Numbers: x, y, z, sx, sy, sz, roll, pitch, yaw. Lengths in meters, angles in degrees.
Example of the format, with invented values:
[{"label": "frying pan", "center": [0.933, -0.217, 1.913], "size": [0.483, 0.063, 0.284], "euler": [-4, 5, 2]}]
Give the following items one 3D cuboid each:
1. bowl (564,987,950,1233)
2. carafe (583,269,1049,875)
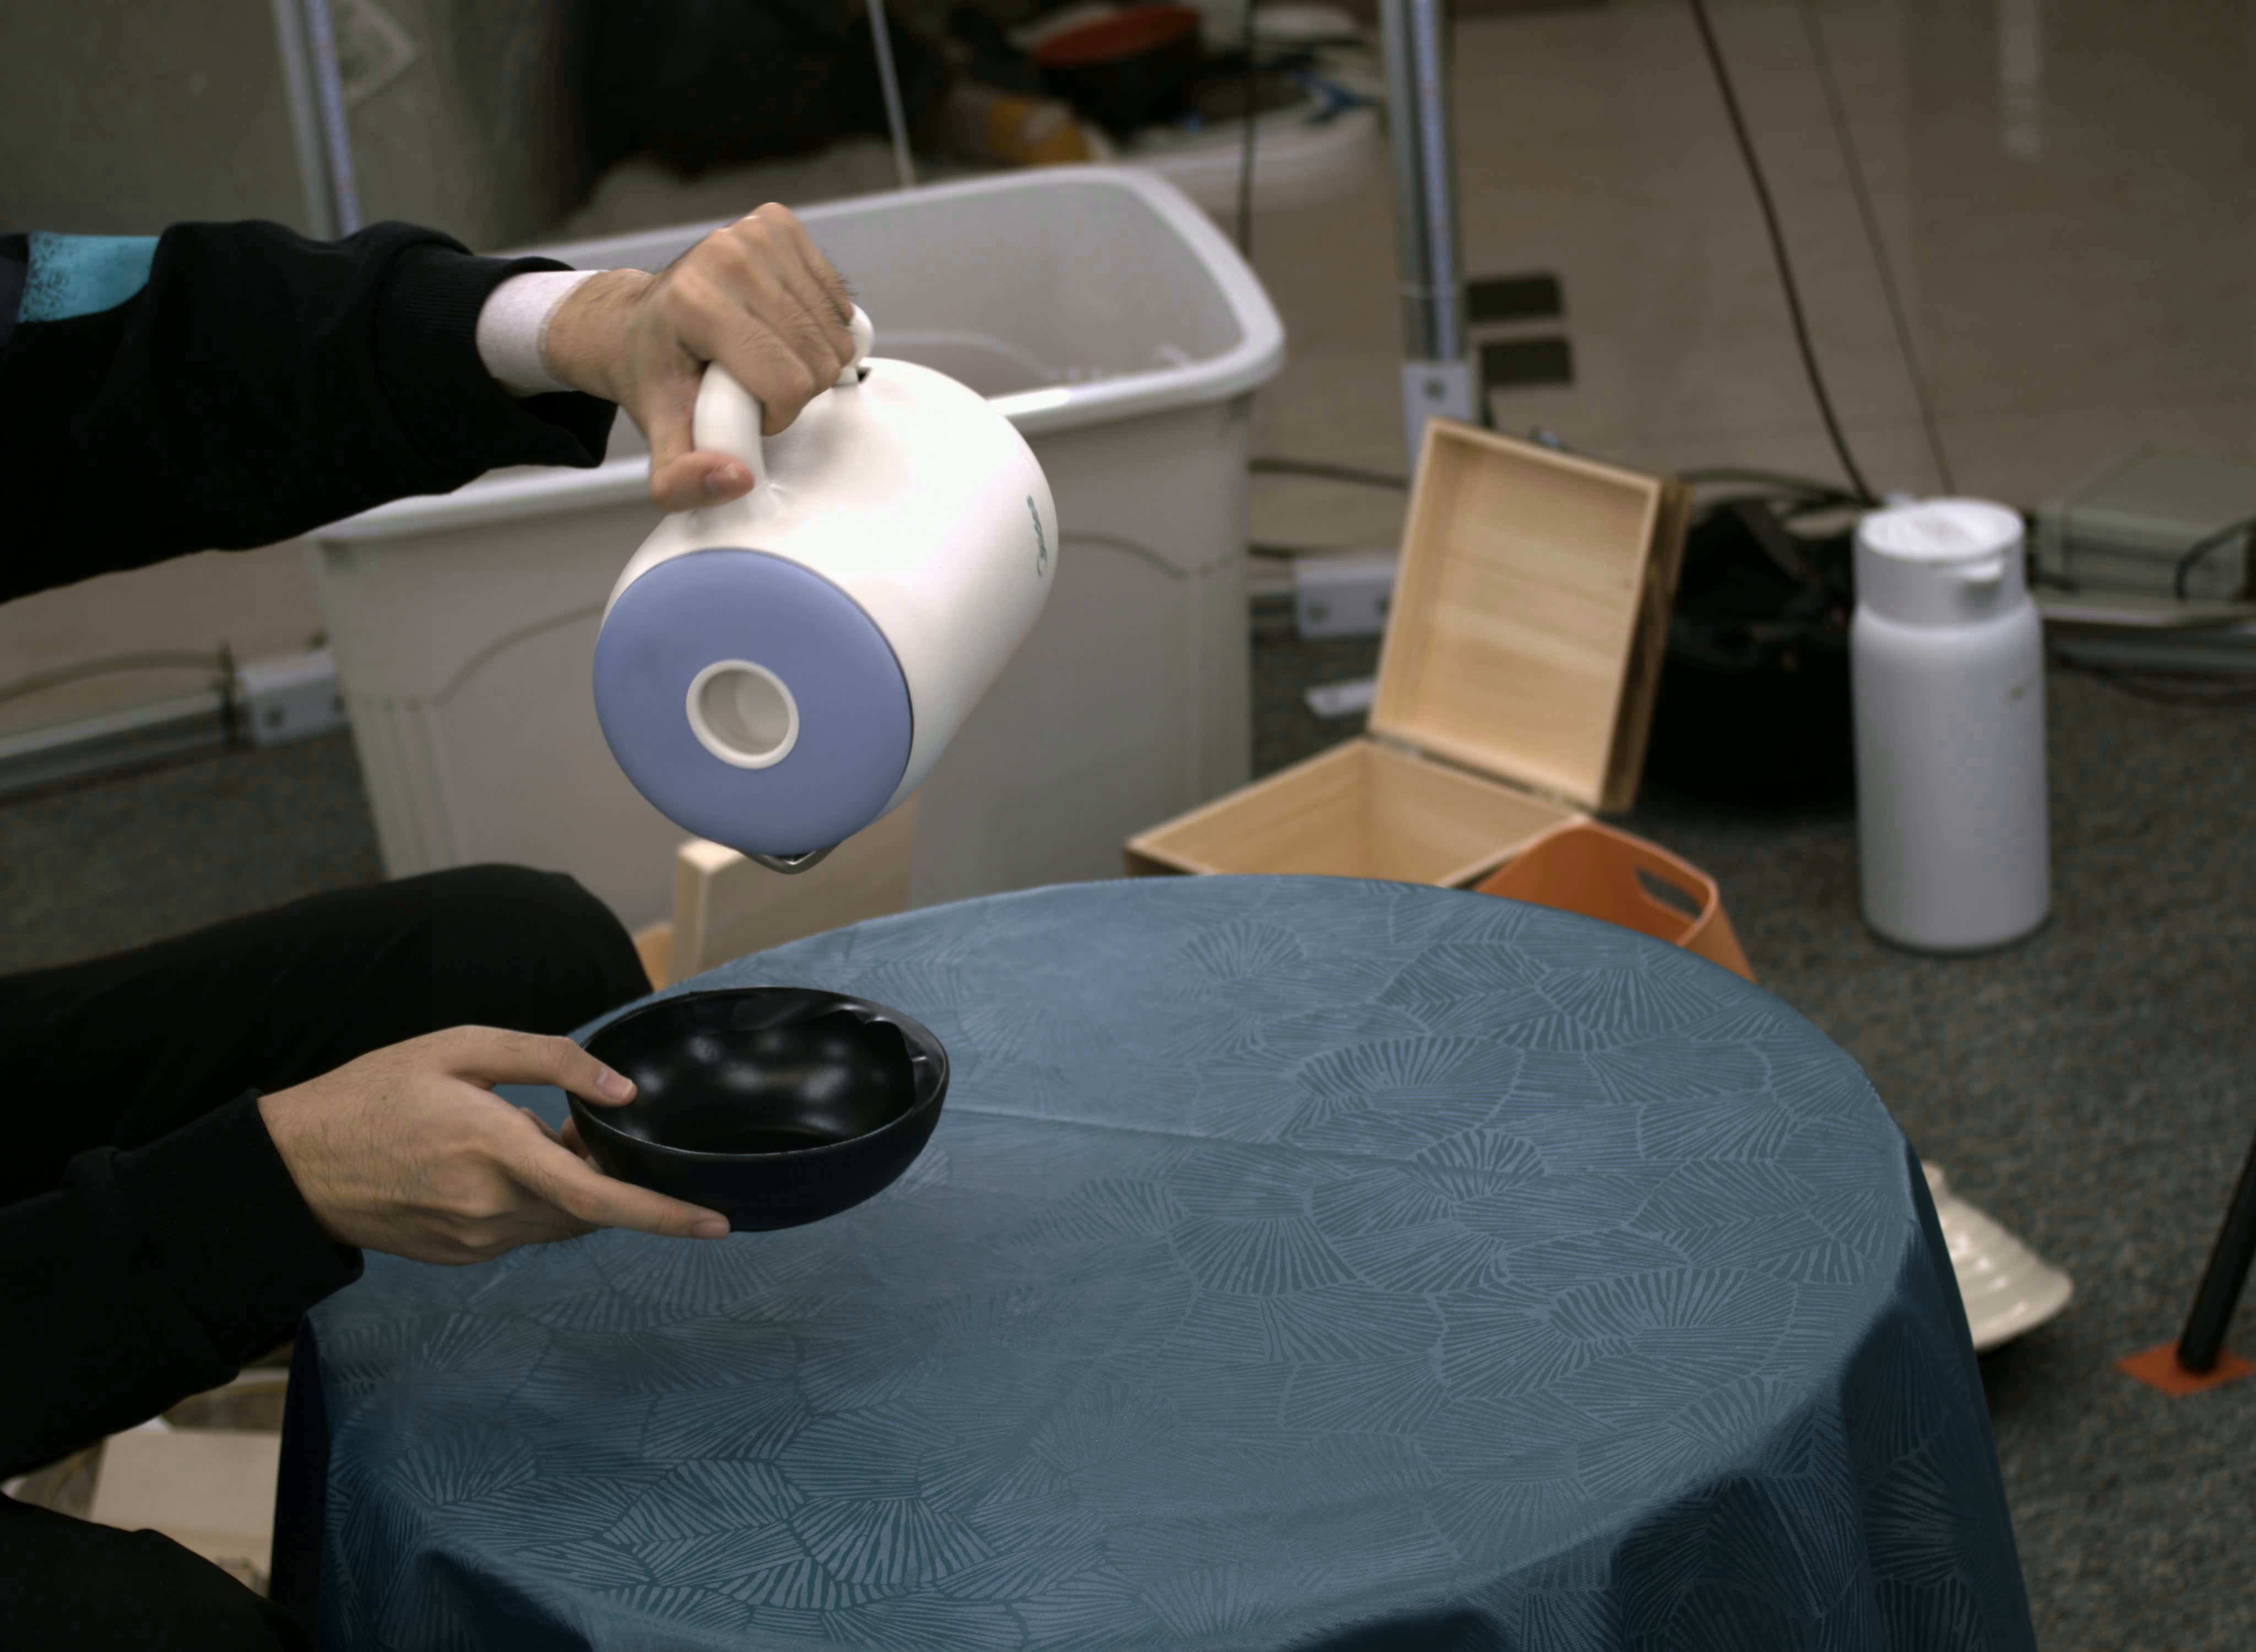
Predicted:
[{"label": "bowl", "center": [-0.133, 0.109, 2.048], "size": [0.140, 0.050, 0.138], "euler": [-2, 24, 1]}, {"label": "carafe", "center": [-0.117, -0.103, 2.035], "size": [0.132, 0.194, 0.180], "euler": [-3, 26, 19]}]
